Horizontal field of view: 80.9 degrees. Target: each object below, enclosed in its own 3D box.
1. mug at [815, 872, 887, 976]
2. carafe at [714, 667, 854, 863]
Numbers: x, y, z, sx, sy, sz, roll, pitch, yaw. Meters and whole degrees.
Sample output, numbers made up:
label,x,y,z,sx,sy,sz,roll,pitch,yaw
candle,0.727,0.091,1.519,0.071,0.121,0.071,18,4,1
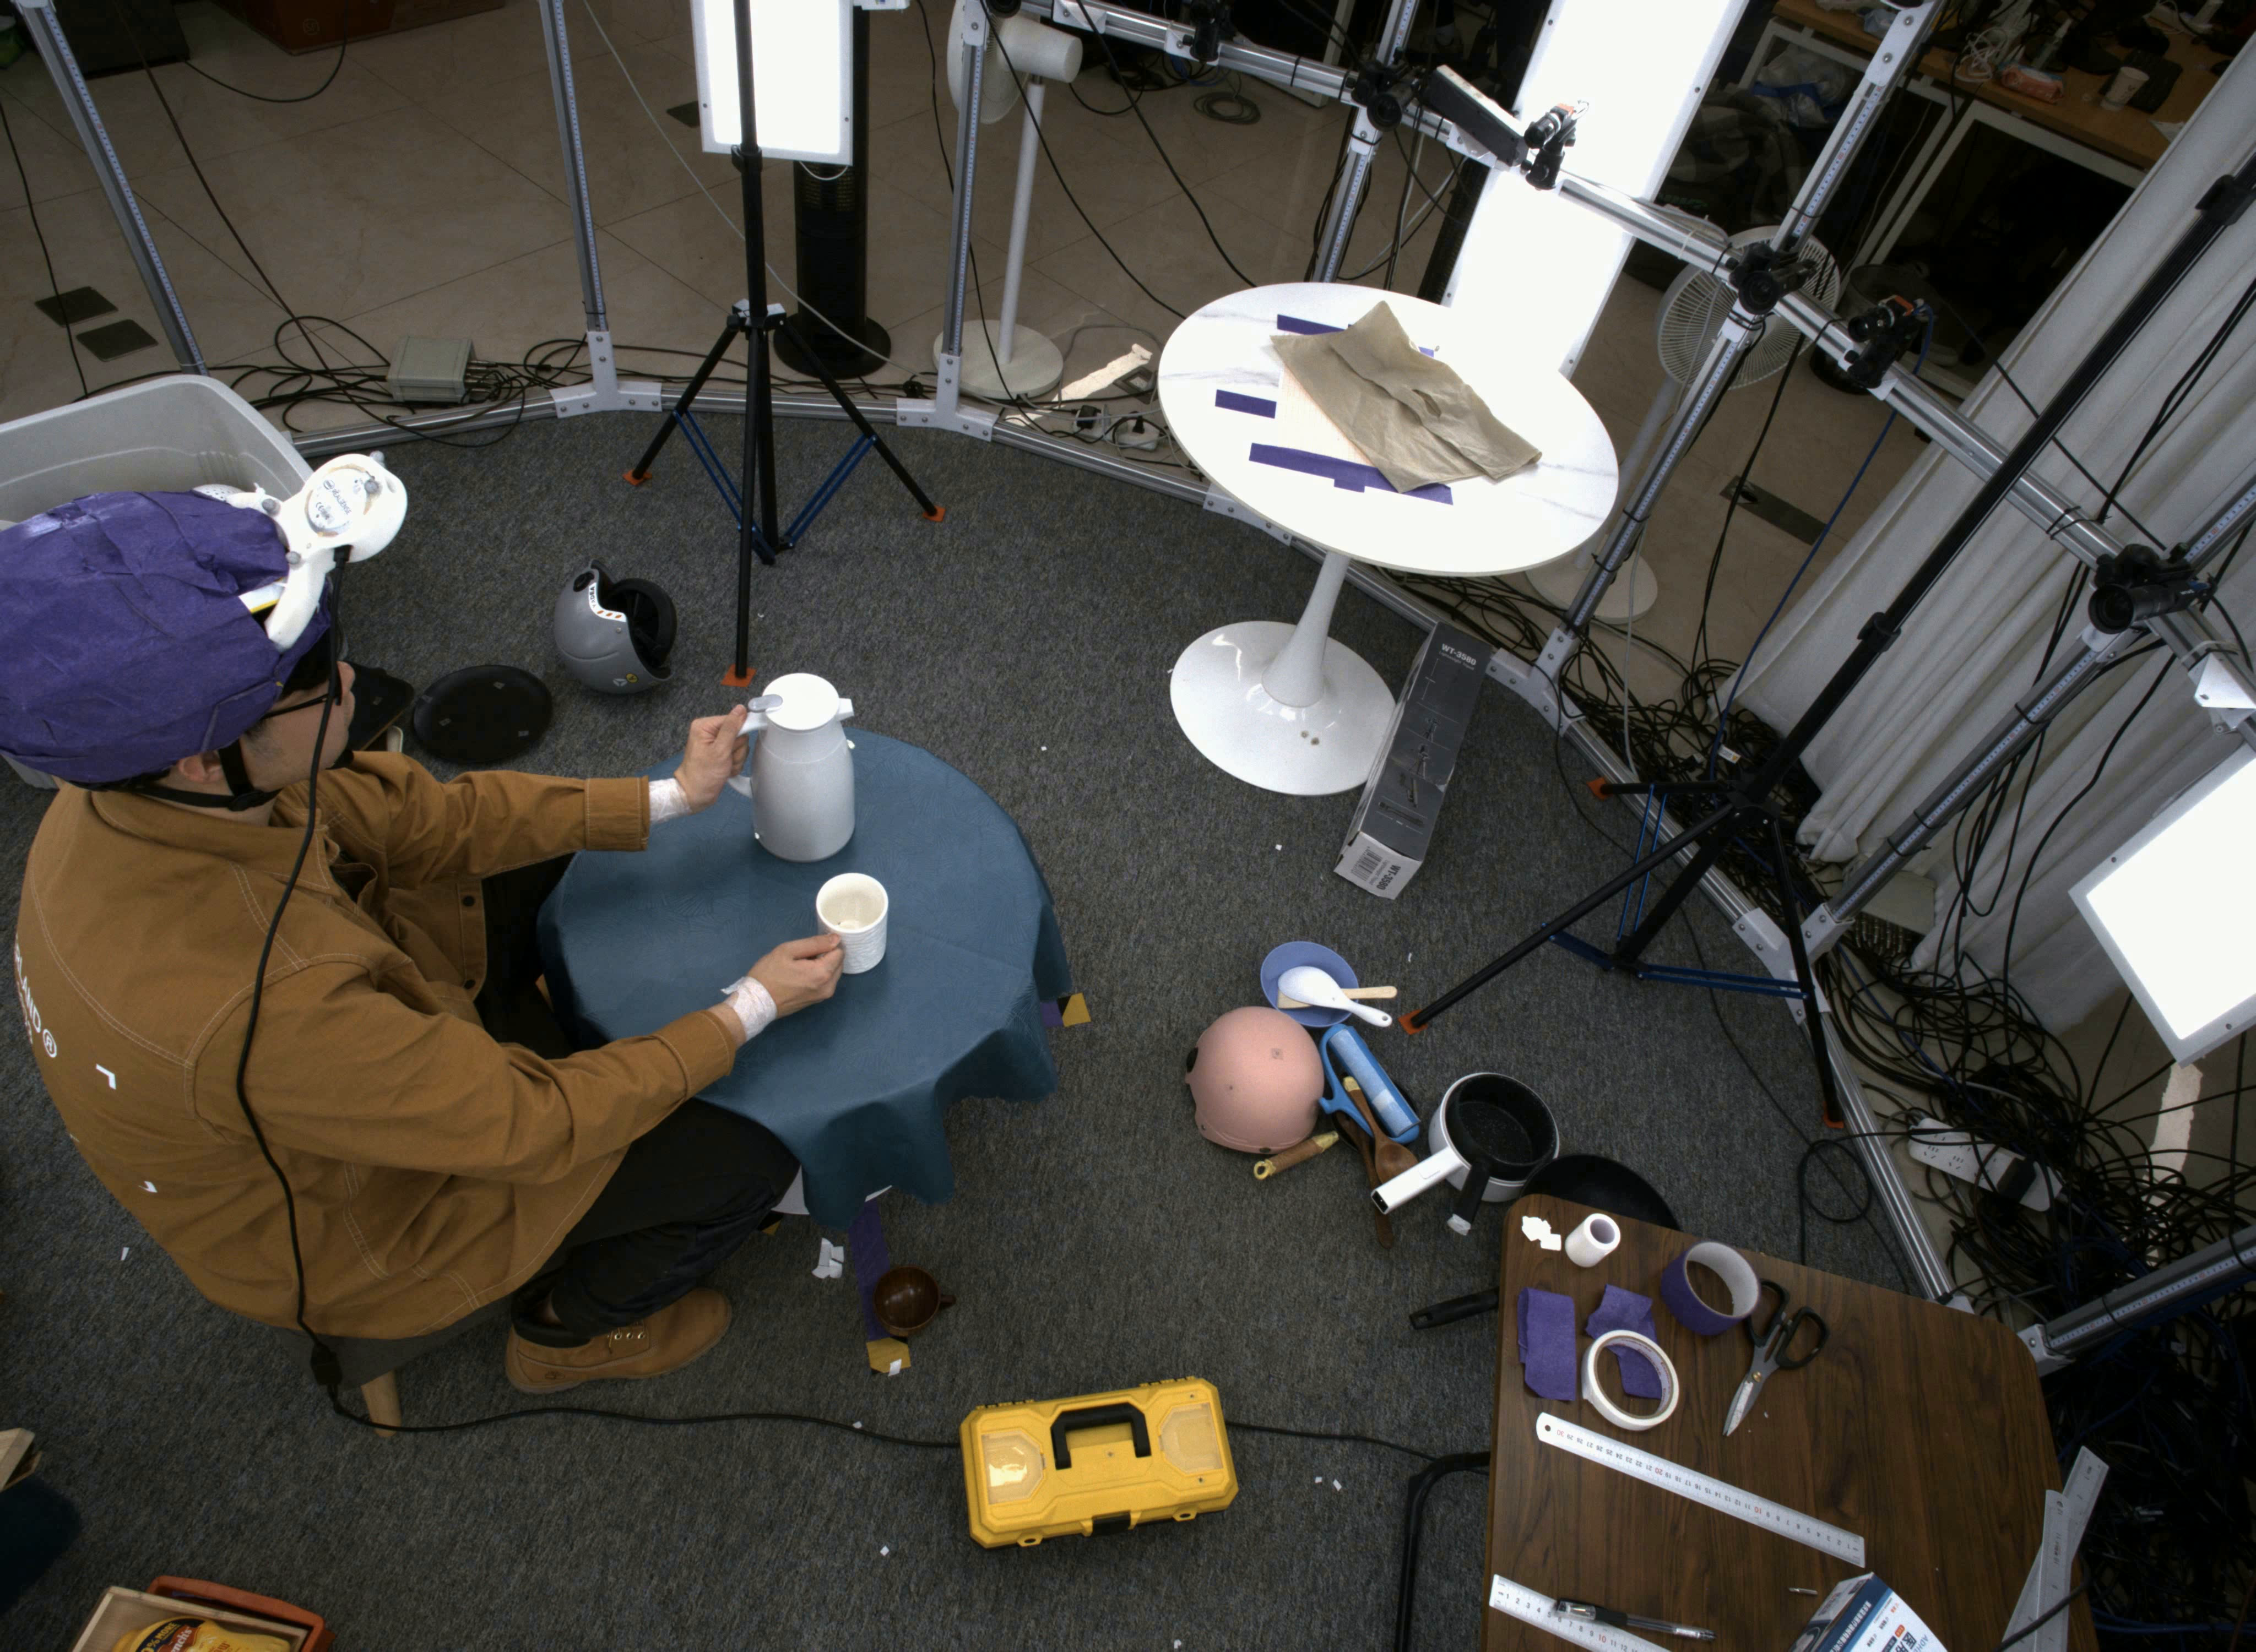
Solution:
label,x,y,z,sx,sy,sz,roll,pitch,yaw
mug,-0.343,0.130,1.579,0.084,0.104,0.117,22,52,6
carafe,-0.429,-0.078,1.618,0.168,0.254,0.129,-9,55,-18
